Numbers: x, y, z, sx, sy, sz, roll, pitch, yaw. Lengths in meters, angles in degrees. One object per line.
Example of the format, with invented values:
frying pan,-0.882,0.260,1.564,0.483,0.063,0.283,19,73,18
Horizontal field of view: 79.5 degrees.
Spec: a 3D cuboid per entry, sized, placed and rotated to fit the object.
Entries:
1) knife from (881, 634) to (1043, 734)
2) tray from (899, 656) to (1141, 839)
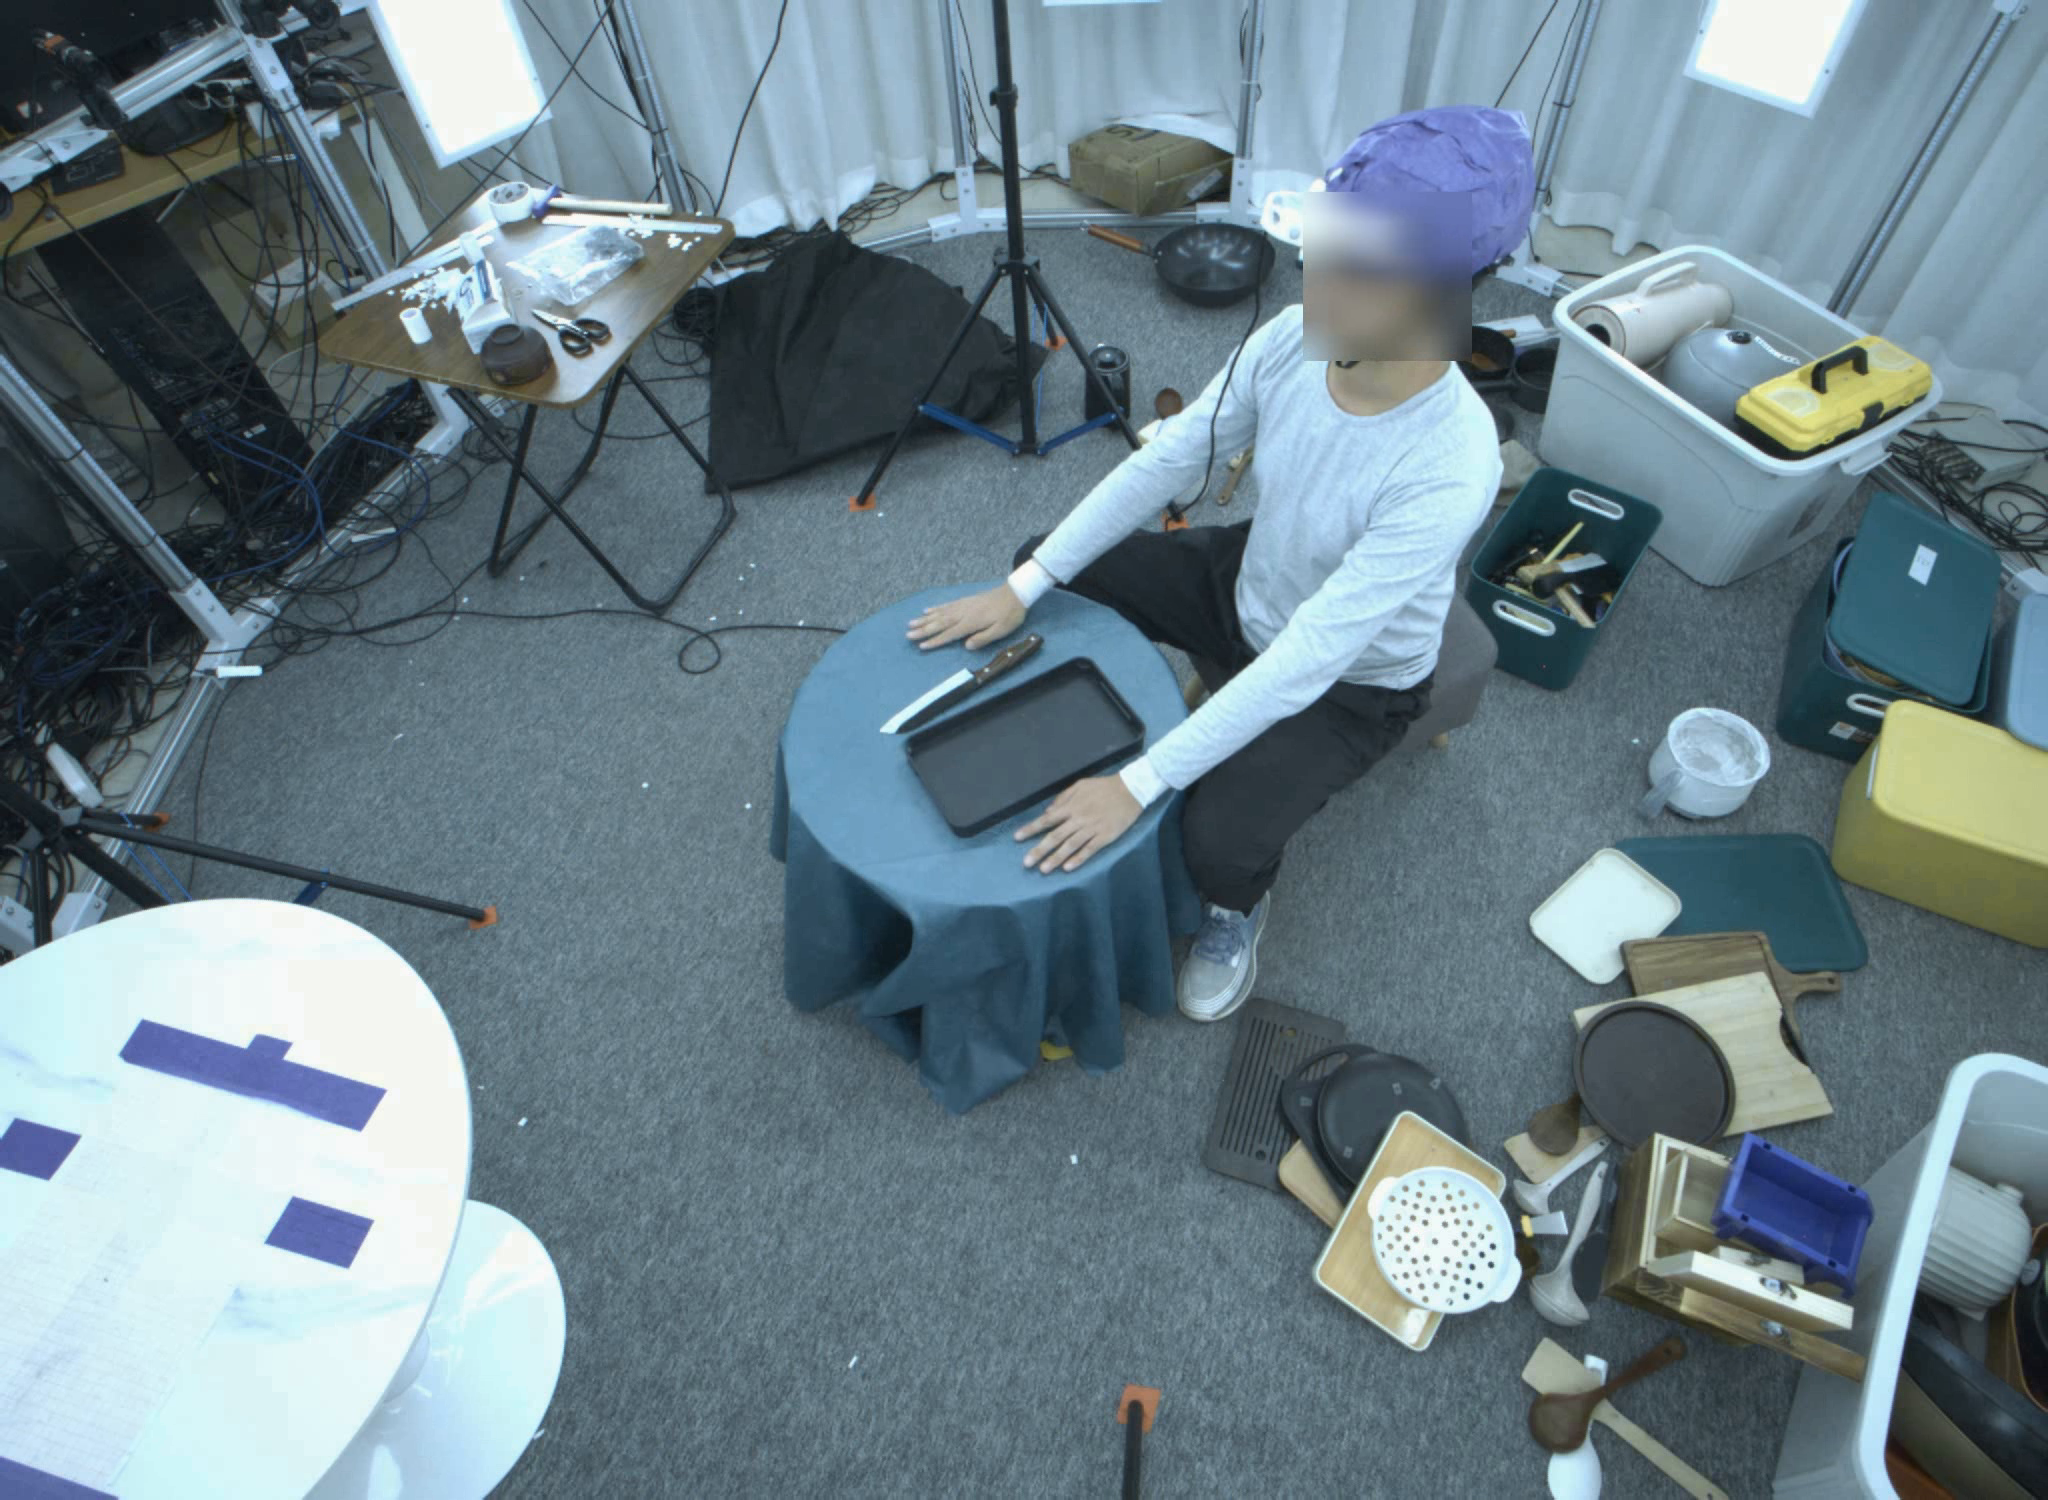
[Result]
knife,-0.093,-0.099,1.859,0.291,0.020,0.049,-32,54,-17
tray,-0.005,-0.008,1.779,0.320,0.037,0.181,-28,58,-18
